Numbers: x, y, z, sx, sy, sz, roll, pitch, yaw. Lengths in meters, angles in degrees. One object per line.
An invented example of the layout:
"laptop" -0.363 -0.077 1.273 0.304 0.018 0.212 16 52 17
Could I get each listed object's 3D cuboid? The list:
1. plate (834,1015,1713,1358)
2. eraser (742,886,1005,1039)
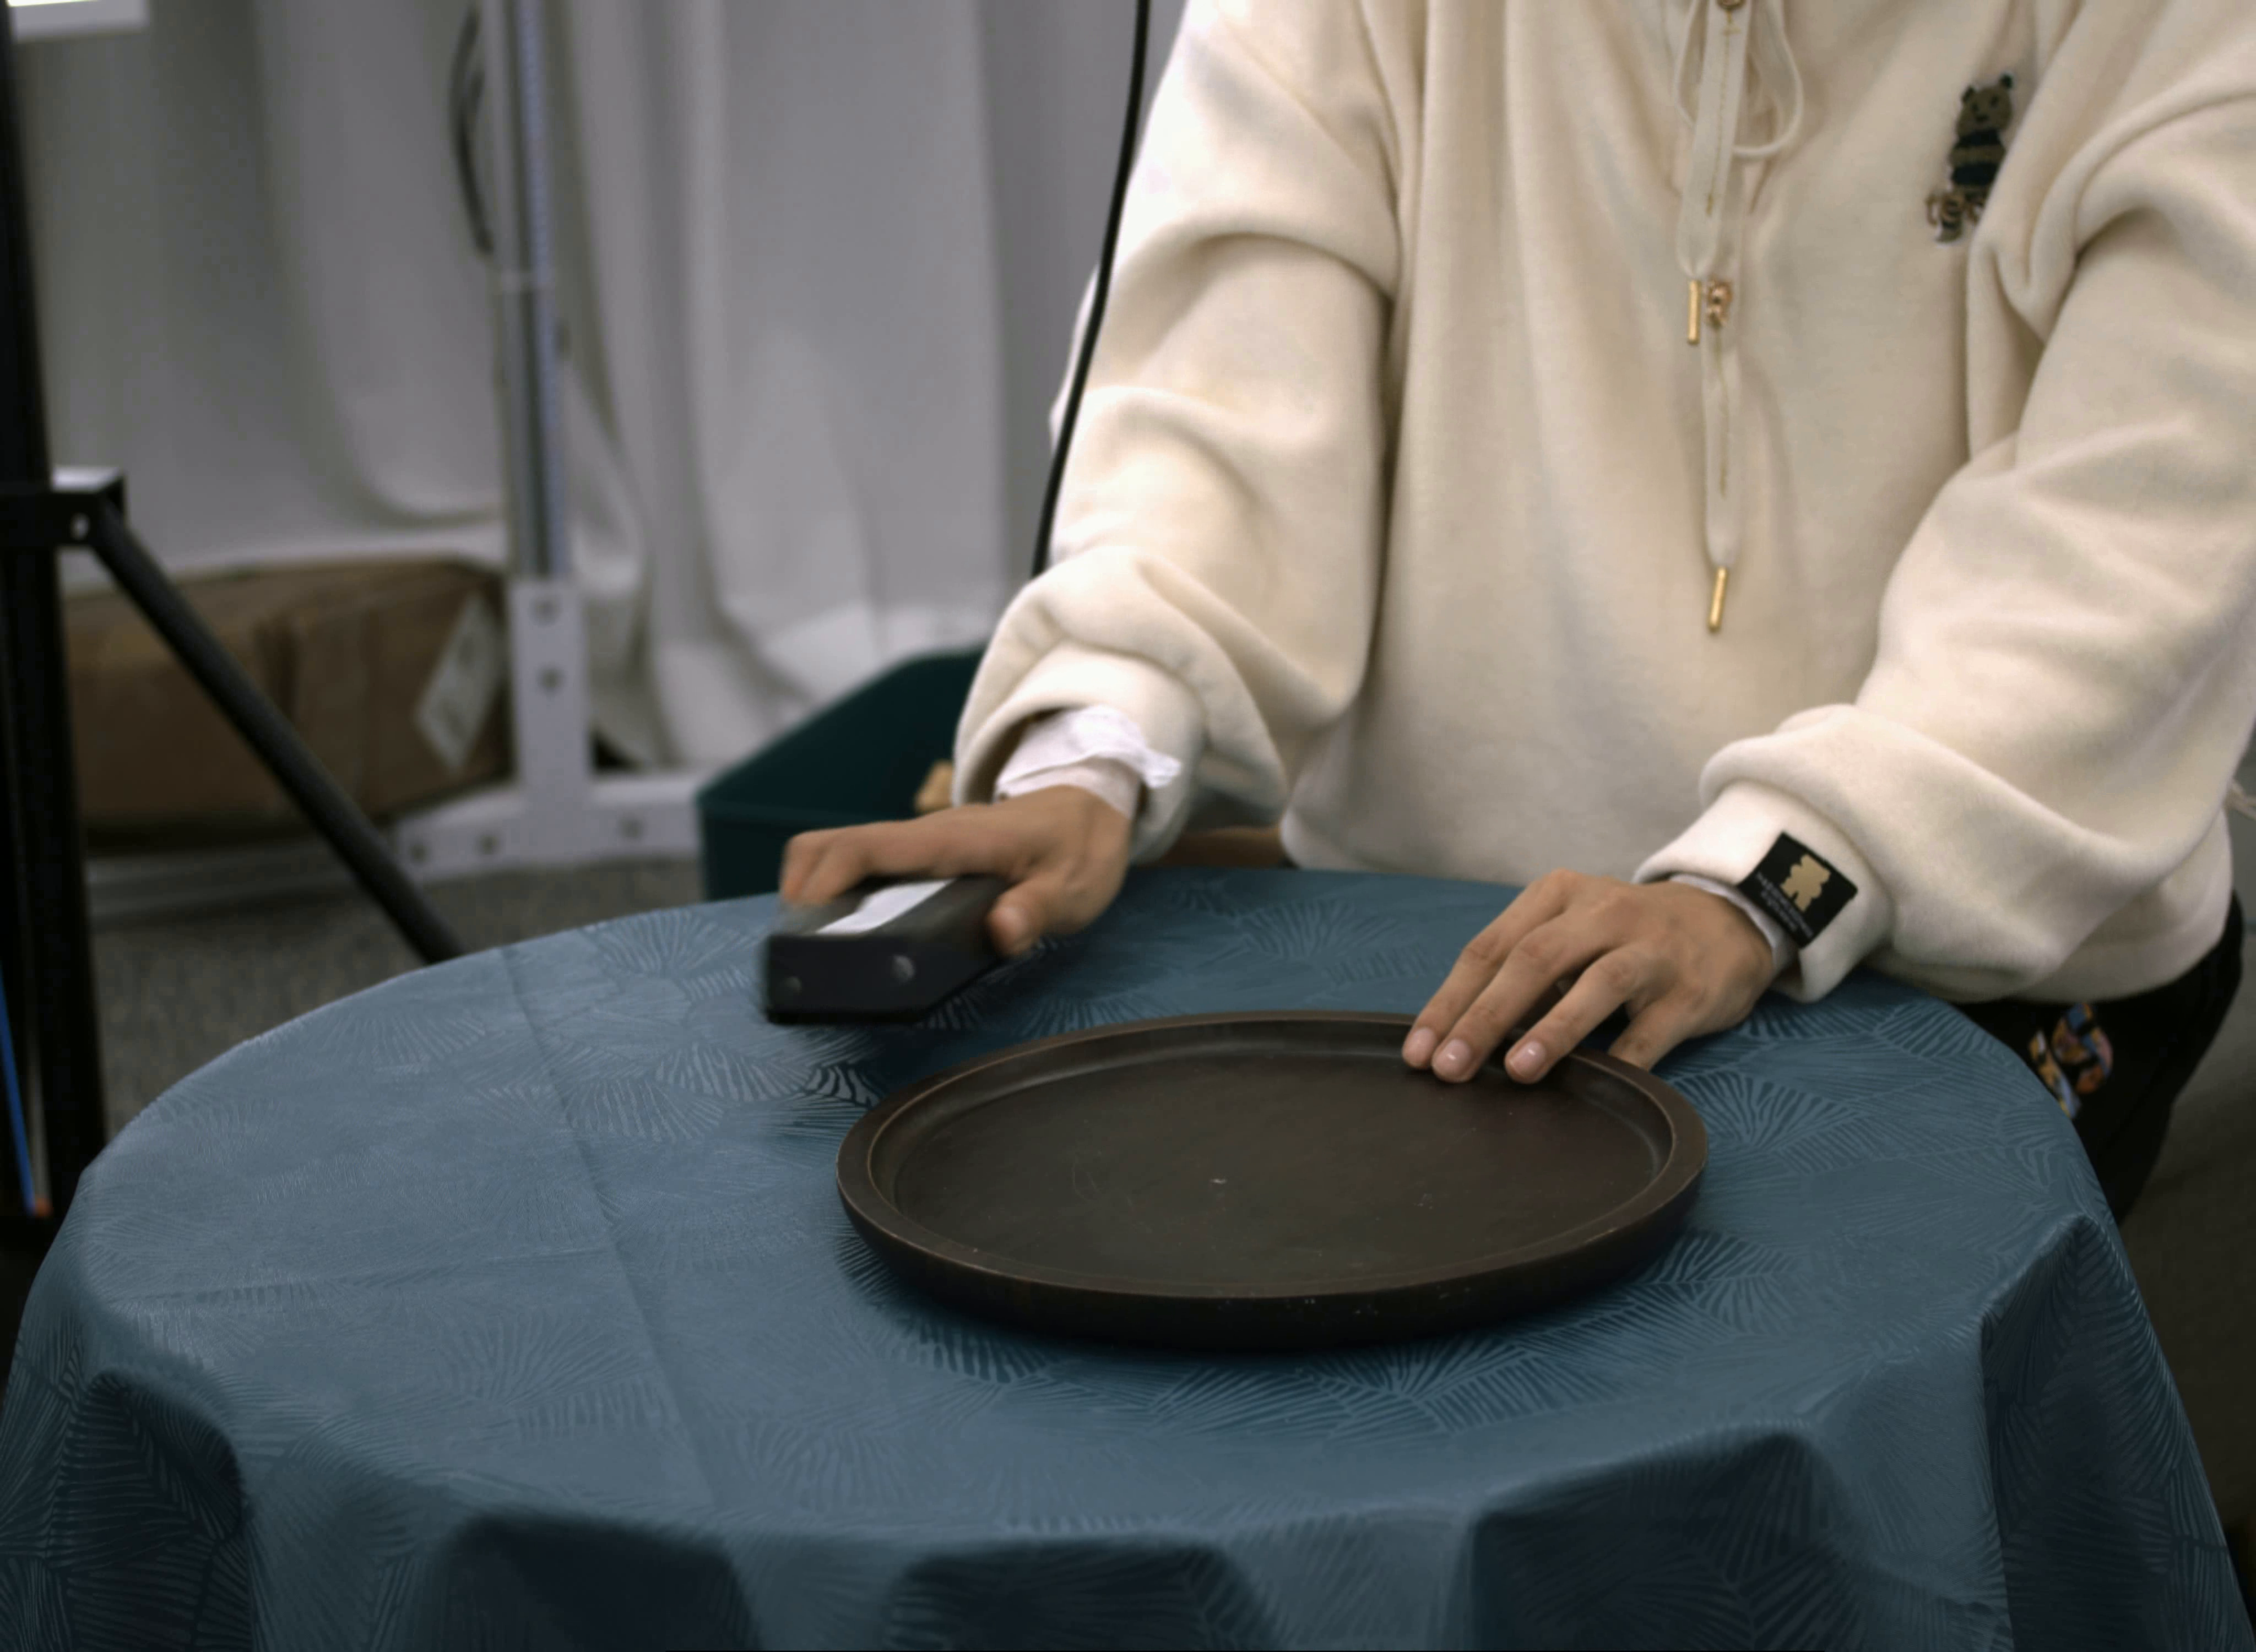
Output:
"plate" 0.042 0.101 1.532 0.253 0.029 0.256 -4 17 0
"eraser" -0.079 0.042 1.685 0.054 0.030 0.124 1 8 13
